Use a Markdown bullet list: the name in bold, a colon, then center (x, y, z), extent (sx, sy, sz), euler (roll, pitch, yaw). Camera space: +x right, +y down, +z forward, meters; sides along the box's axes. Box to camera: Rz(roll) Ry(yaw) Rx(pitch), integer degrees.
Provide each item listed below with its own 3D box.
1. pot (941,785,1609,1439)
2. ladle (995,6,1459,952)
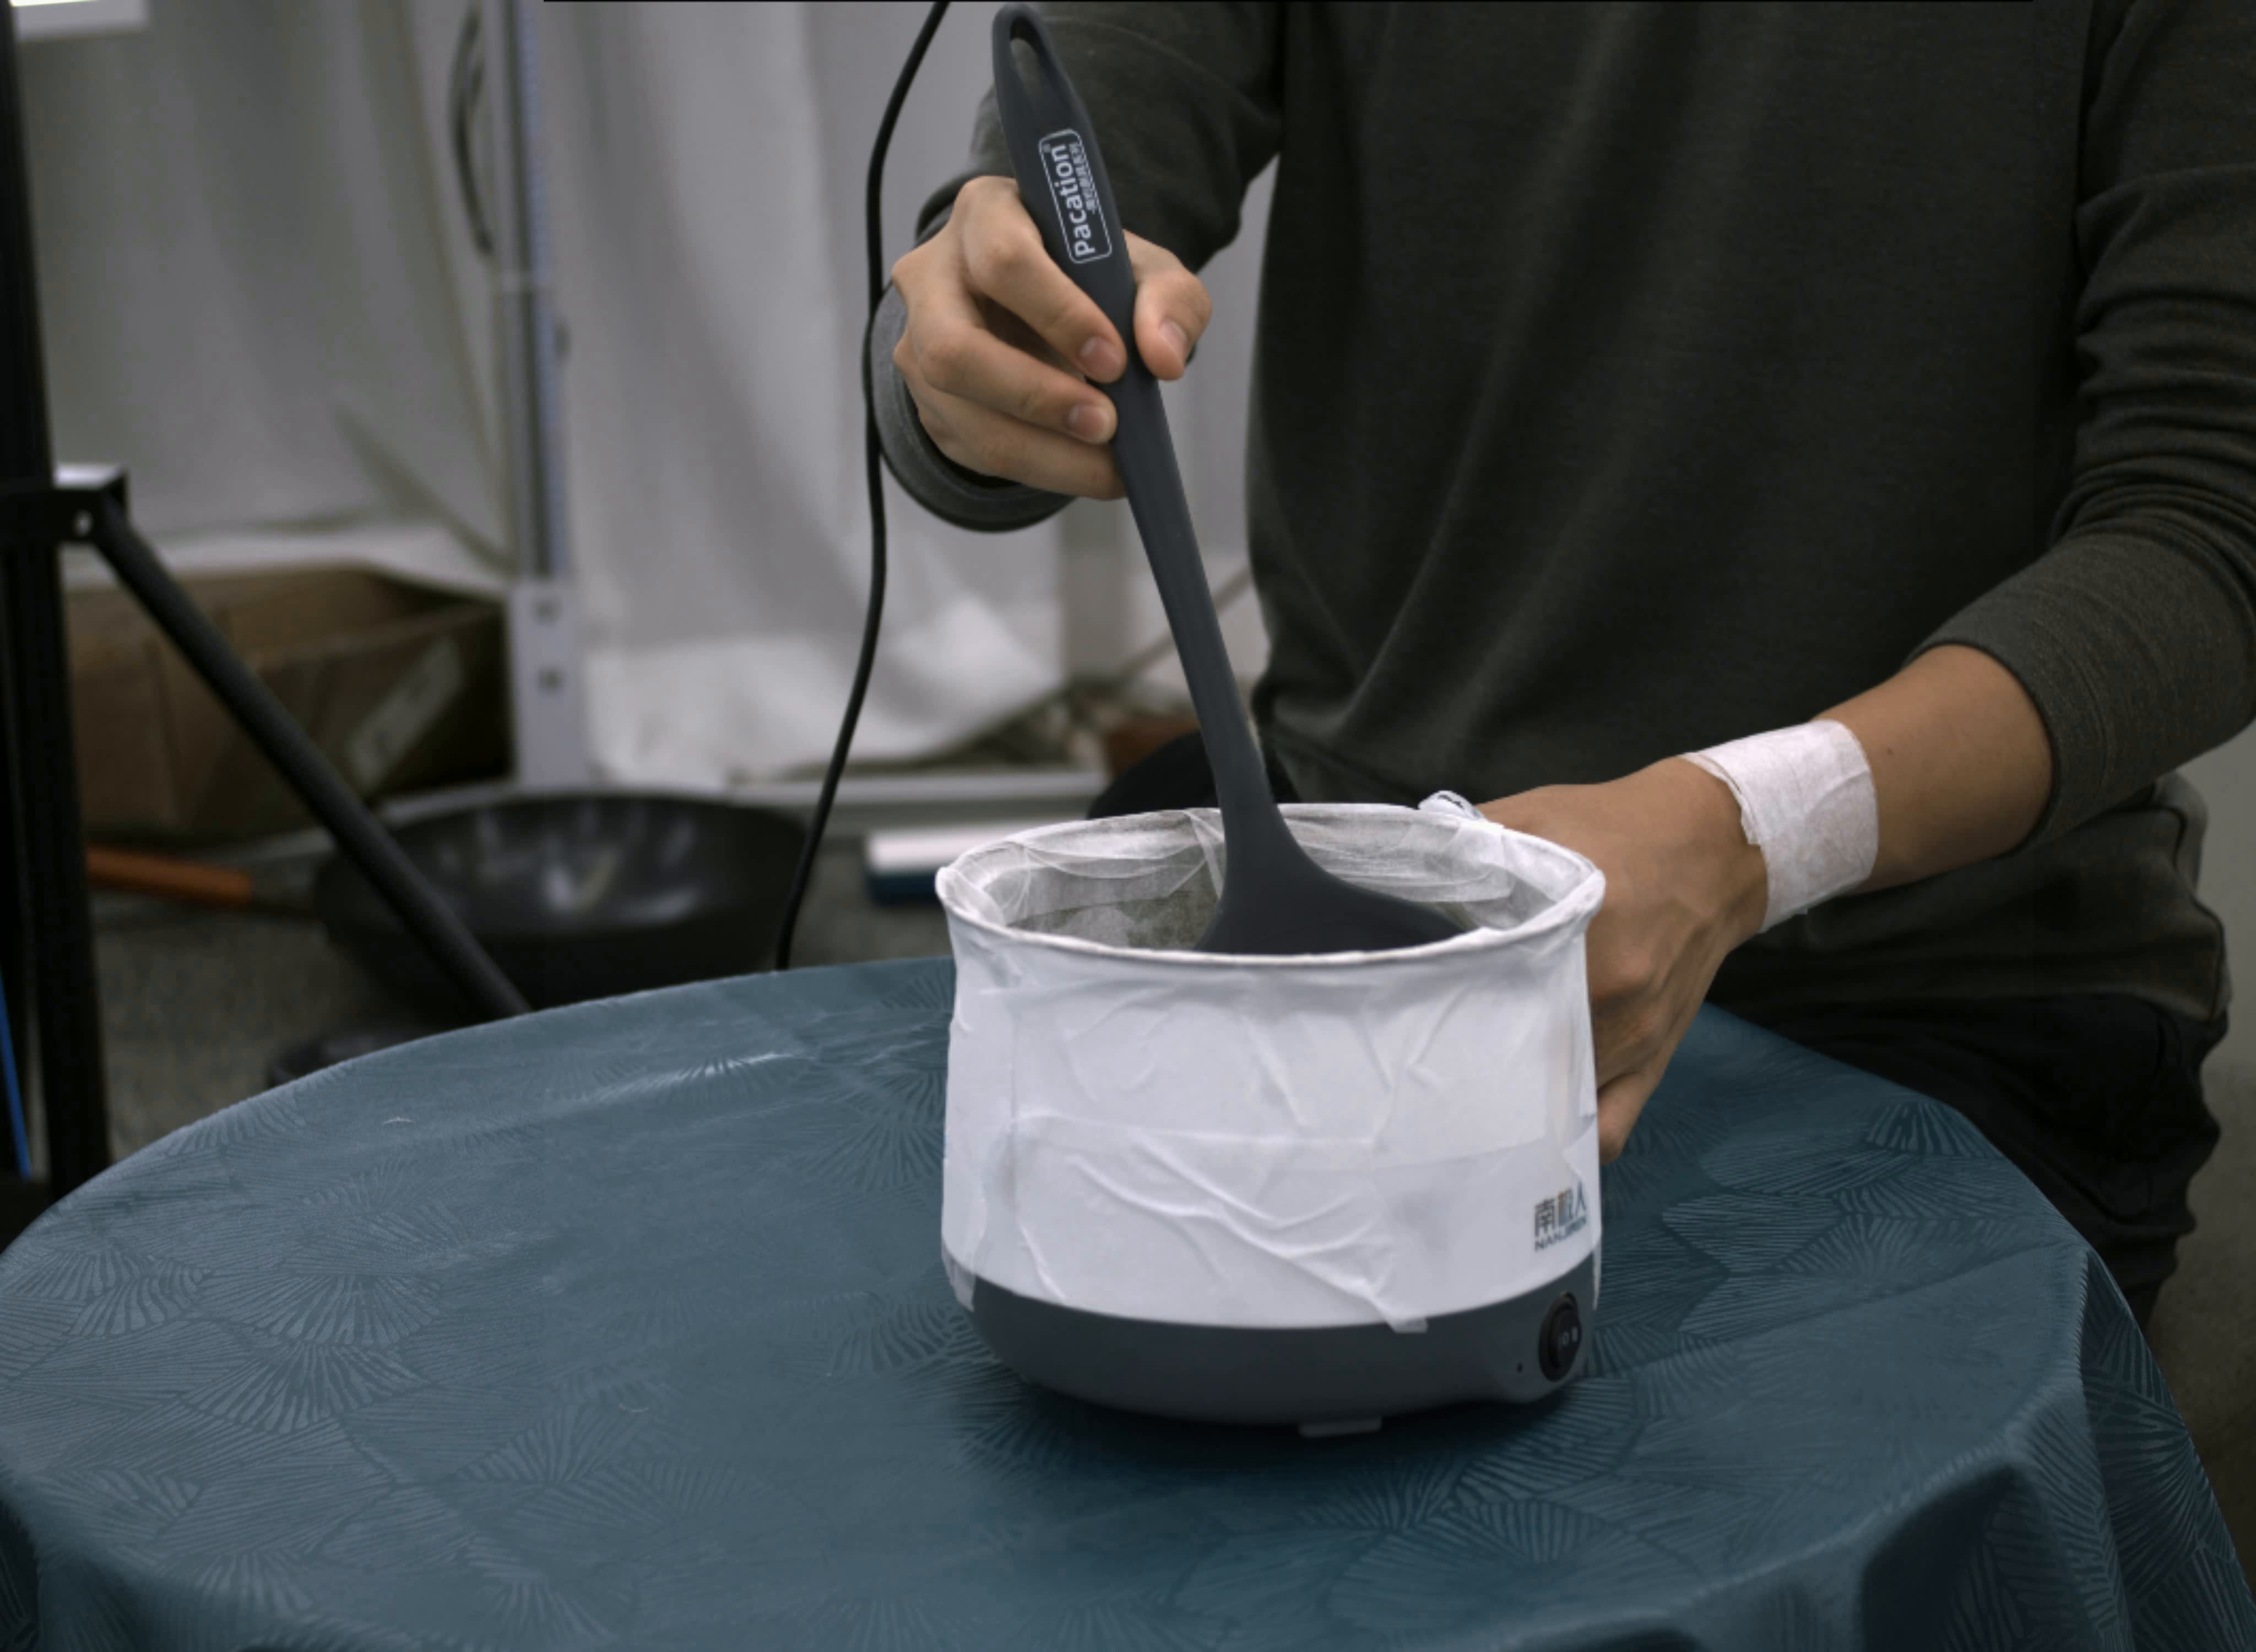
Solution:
- **pot**: center (0.052, 0.069, 1.431), extent (0.182, 0.137, 0.229), euler (8, 15, 30)
- **ladle**: center (0.018, -0.076, 1.423), extent (0.085, 0.316, 0.064), euler (-15, -6, -14)
